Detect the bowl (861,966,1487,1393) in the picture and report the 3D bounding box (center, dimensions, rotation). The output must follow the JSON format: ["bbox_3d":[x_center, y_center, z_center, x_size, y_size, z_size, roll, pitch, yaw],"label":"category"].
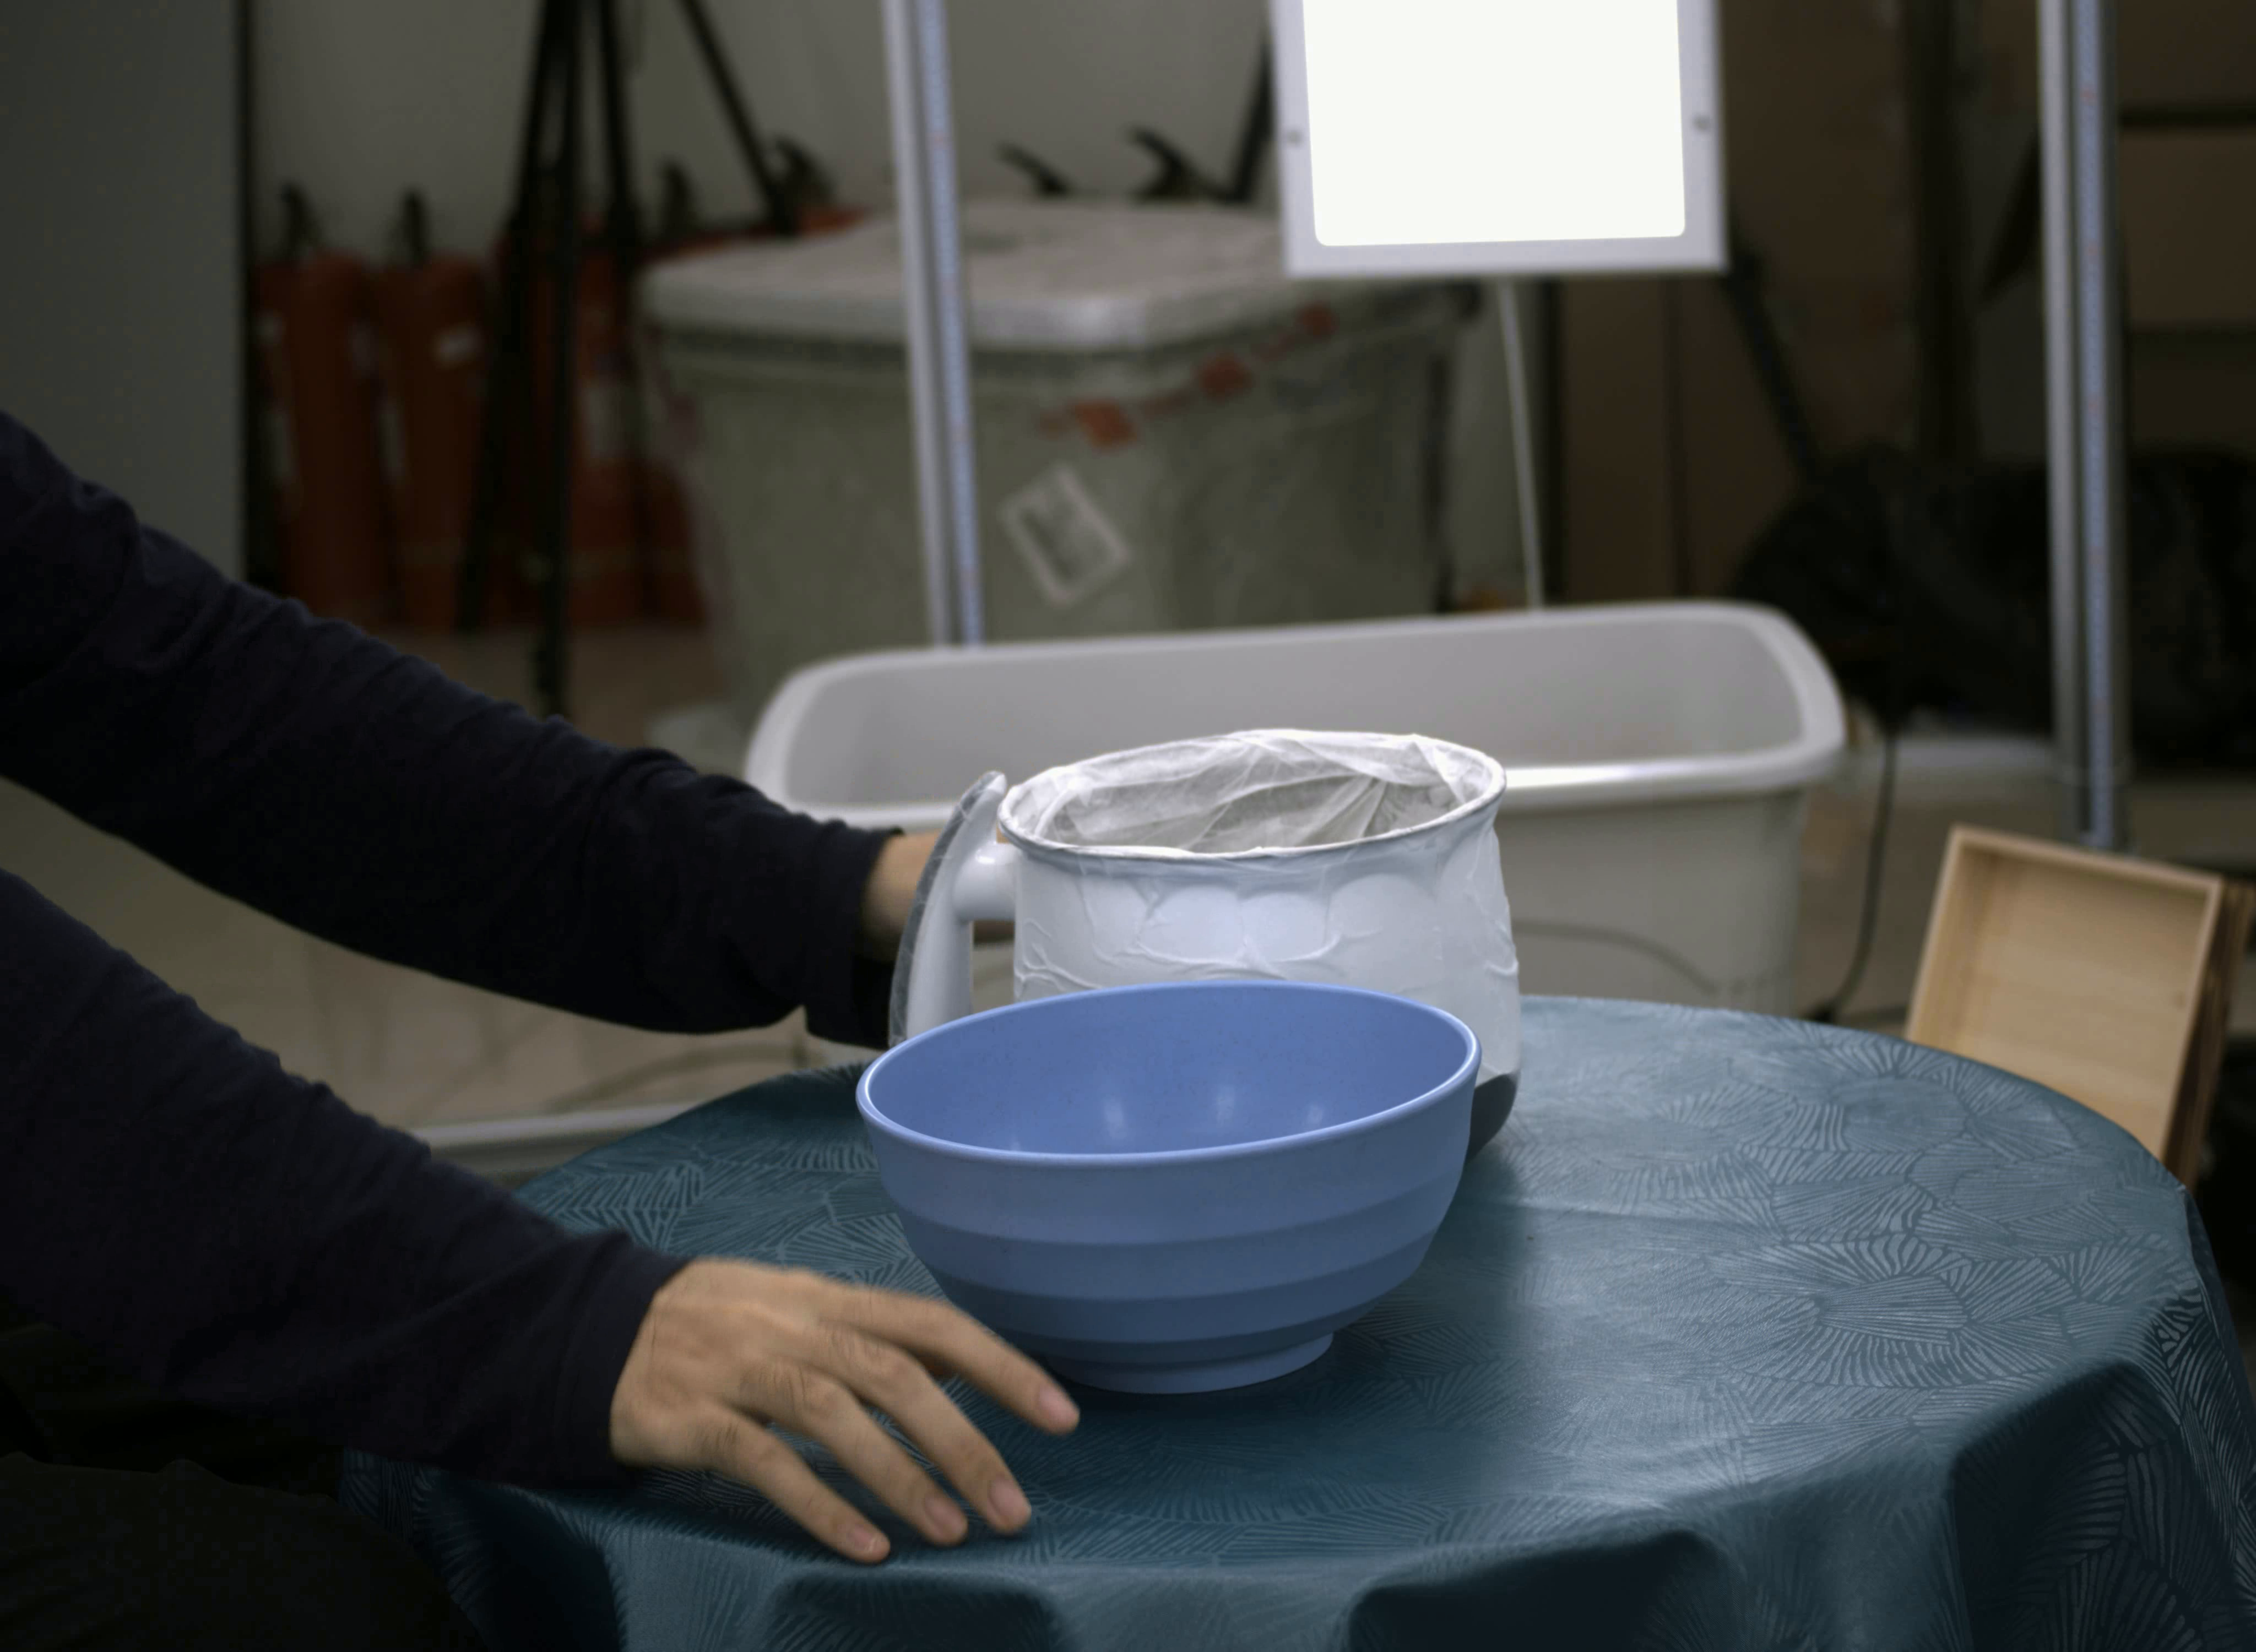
[{"bbox_3d":[0.017,0.117,1.728,0.196,0.096,0.196,-4,16,0],"label":"bowl"}]

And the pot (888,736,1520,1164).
[{"bbox_3d":[0.023,0.048,1.926,0.237,0.137,0.175,2,13,24],"label":"pot"}]
